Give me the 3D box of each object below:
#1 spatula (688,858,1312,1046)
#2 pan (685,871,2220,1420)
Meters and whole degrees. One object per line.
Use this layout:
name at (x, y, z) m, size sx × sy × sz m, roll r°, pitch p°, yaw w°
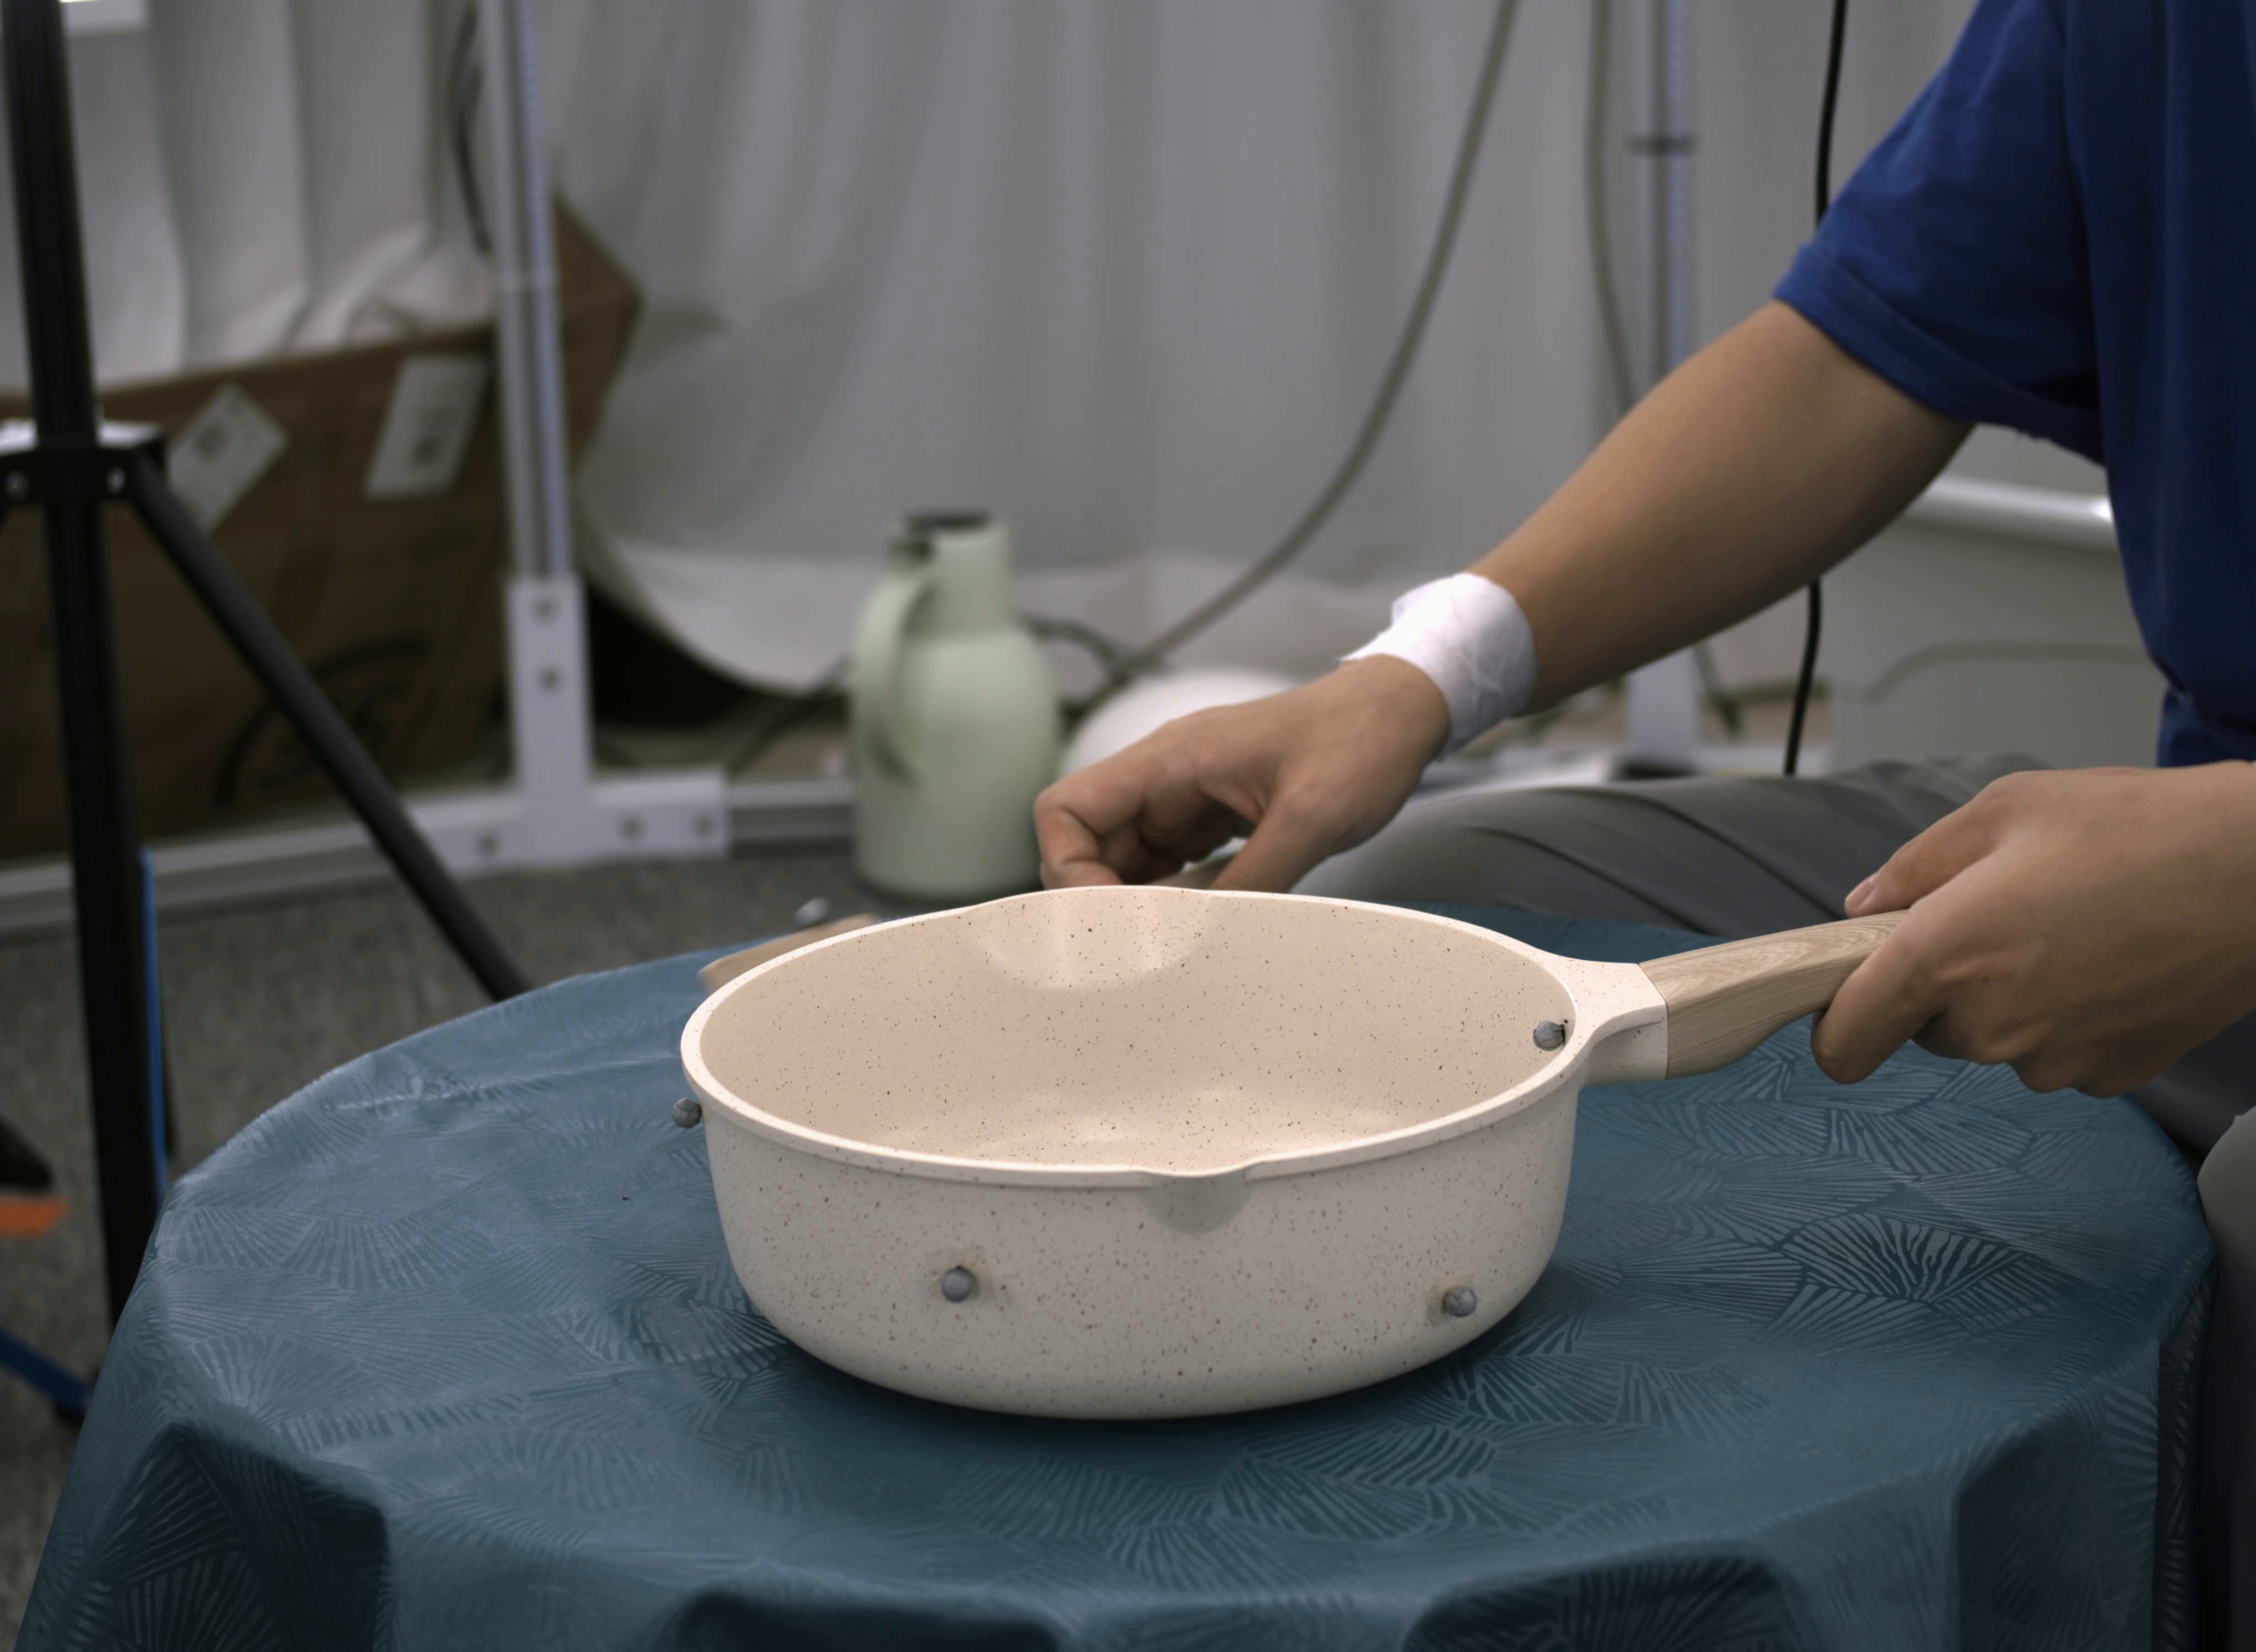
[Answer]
spatula at (-0.030, 0.048, 1.694) m, size 0.286 × 0.011 × 0.073 m, roll -18°, pitch 66°, yaw -51°
pan at (0.096, 0.079, 1.465) m, size 0.431 × 0.102 × 0.266 m, roll -4°, pitch 14°, yaw -6°
